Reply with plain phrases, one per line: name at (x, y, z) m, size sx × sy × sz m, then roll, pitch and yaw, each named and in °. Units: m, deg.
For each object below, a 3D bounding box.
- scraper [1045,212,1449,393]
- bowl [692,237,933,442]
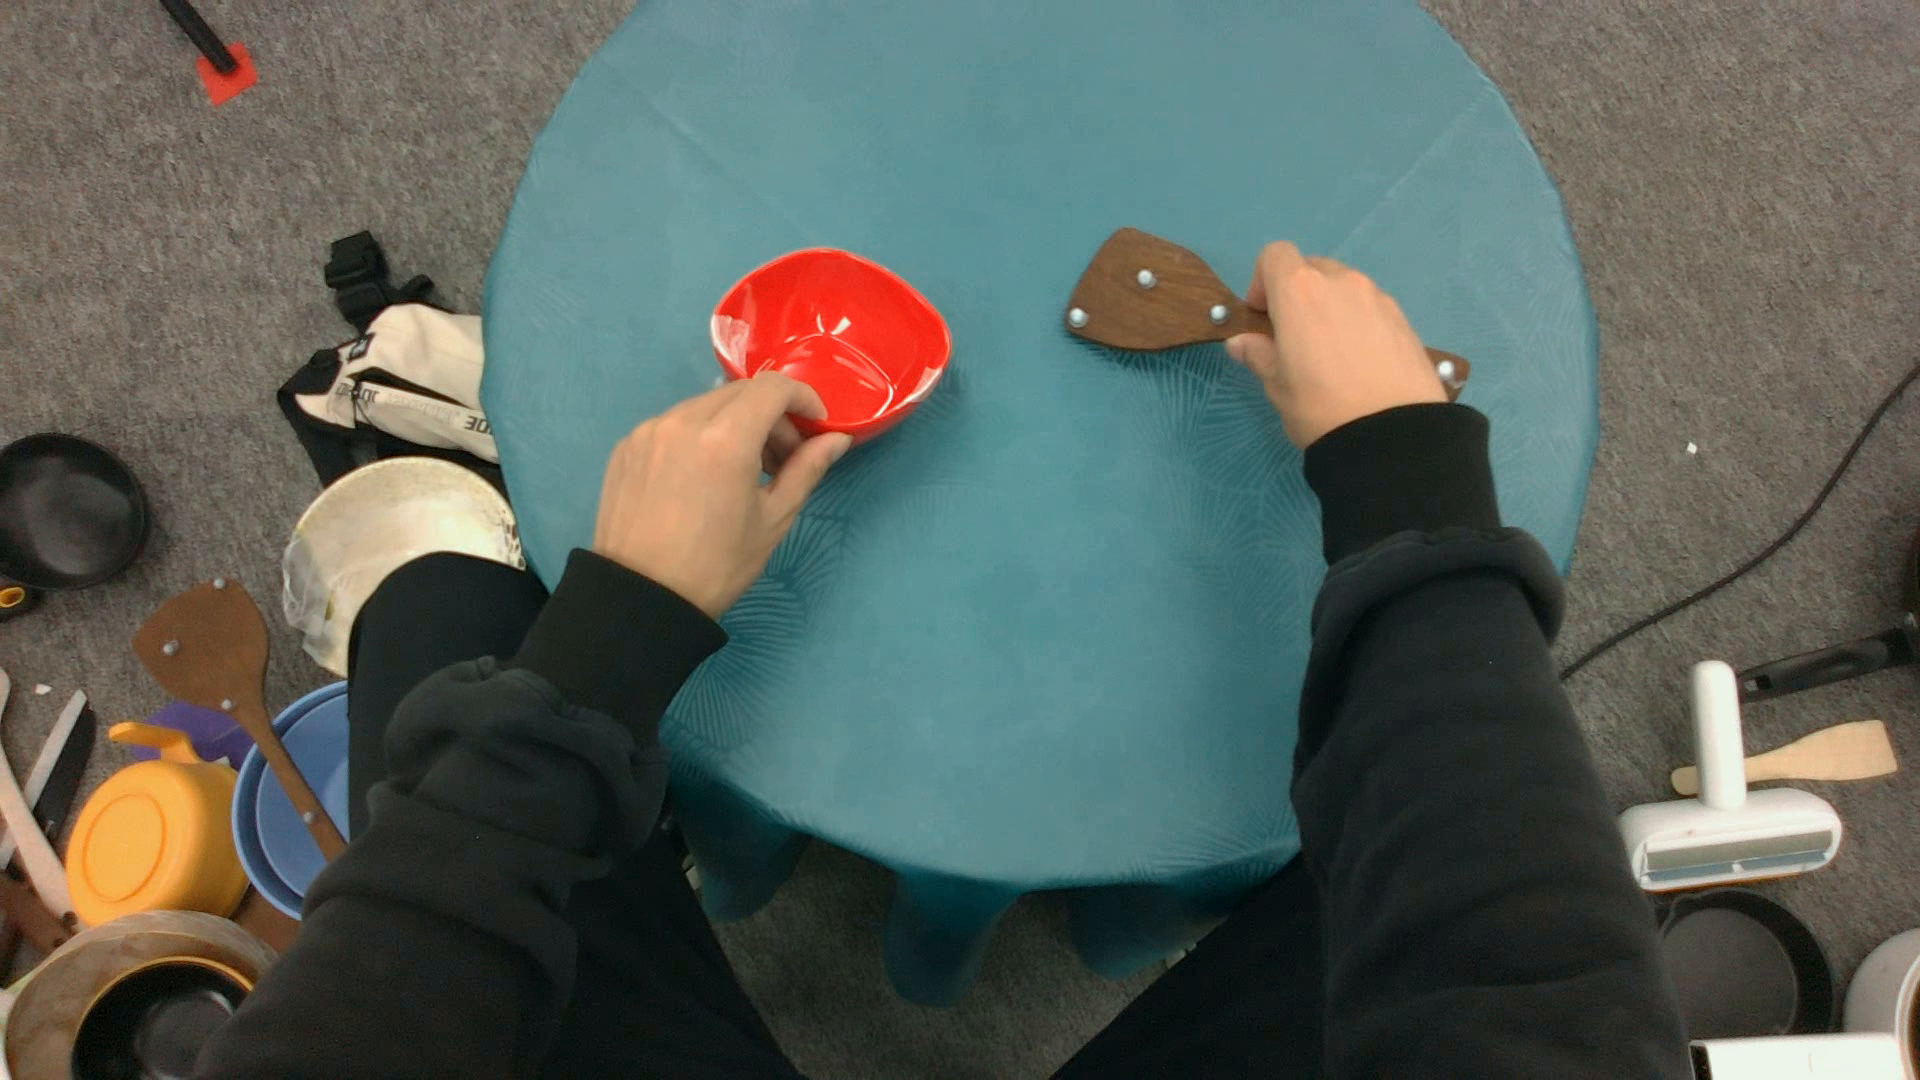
scraper at (0.146, -0.116, 0.710) m, size 0.211 × 0.011 × 0.076 m, roll 23°, pitch 73°, yaw 26°
bowl at (-0.076, -0.094, 0.695) m, size 0.119 × 0.051 × 0.119 m, roll 8°, pitch 52°, yaw -10°
